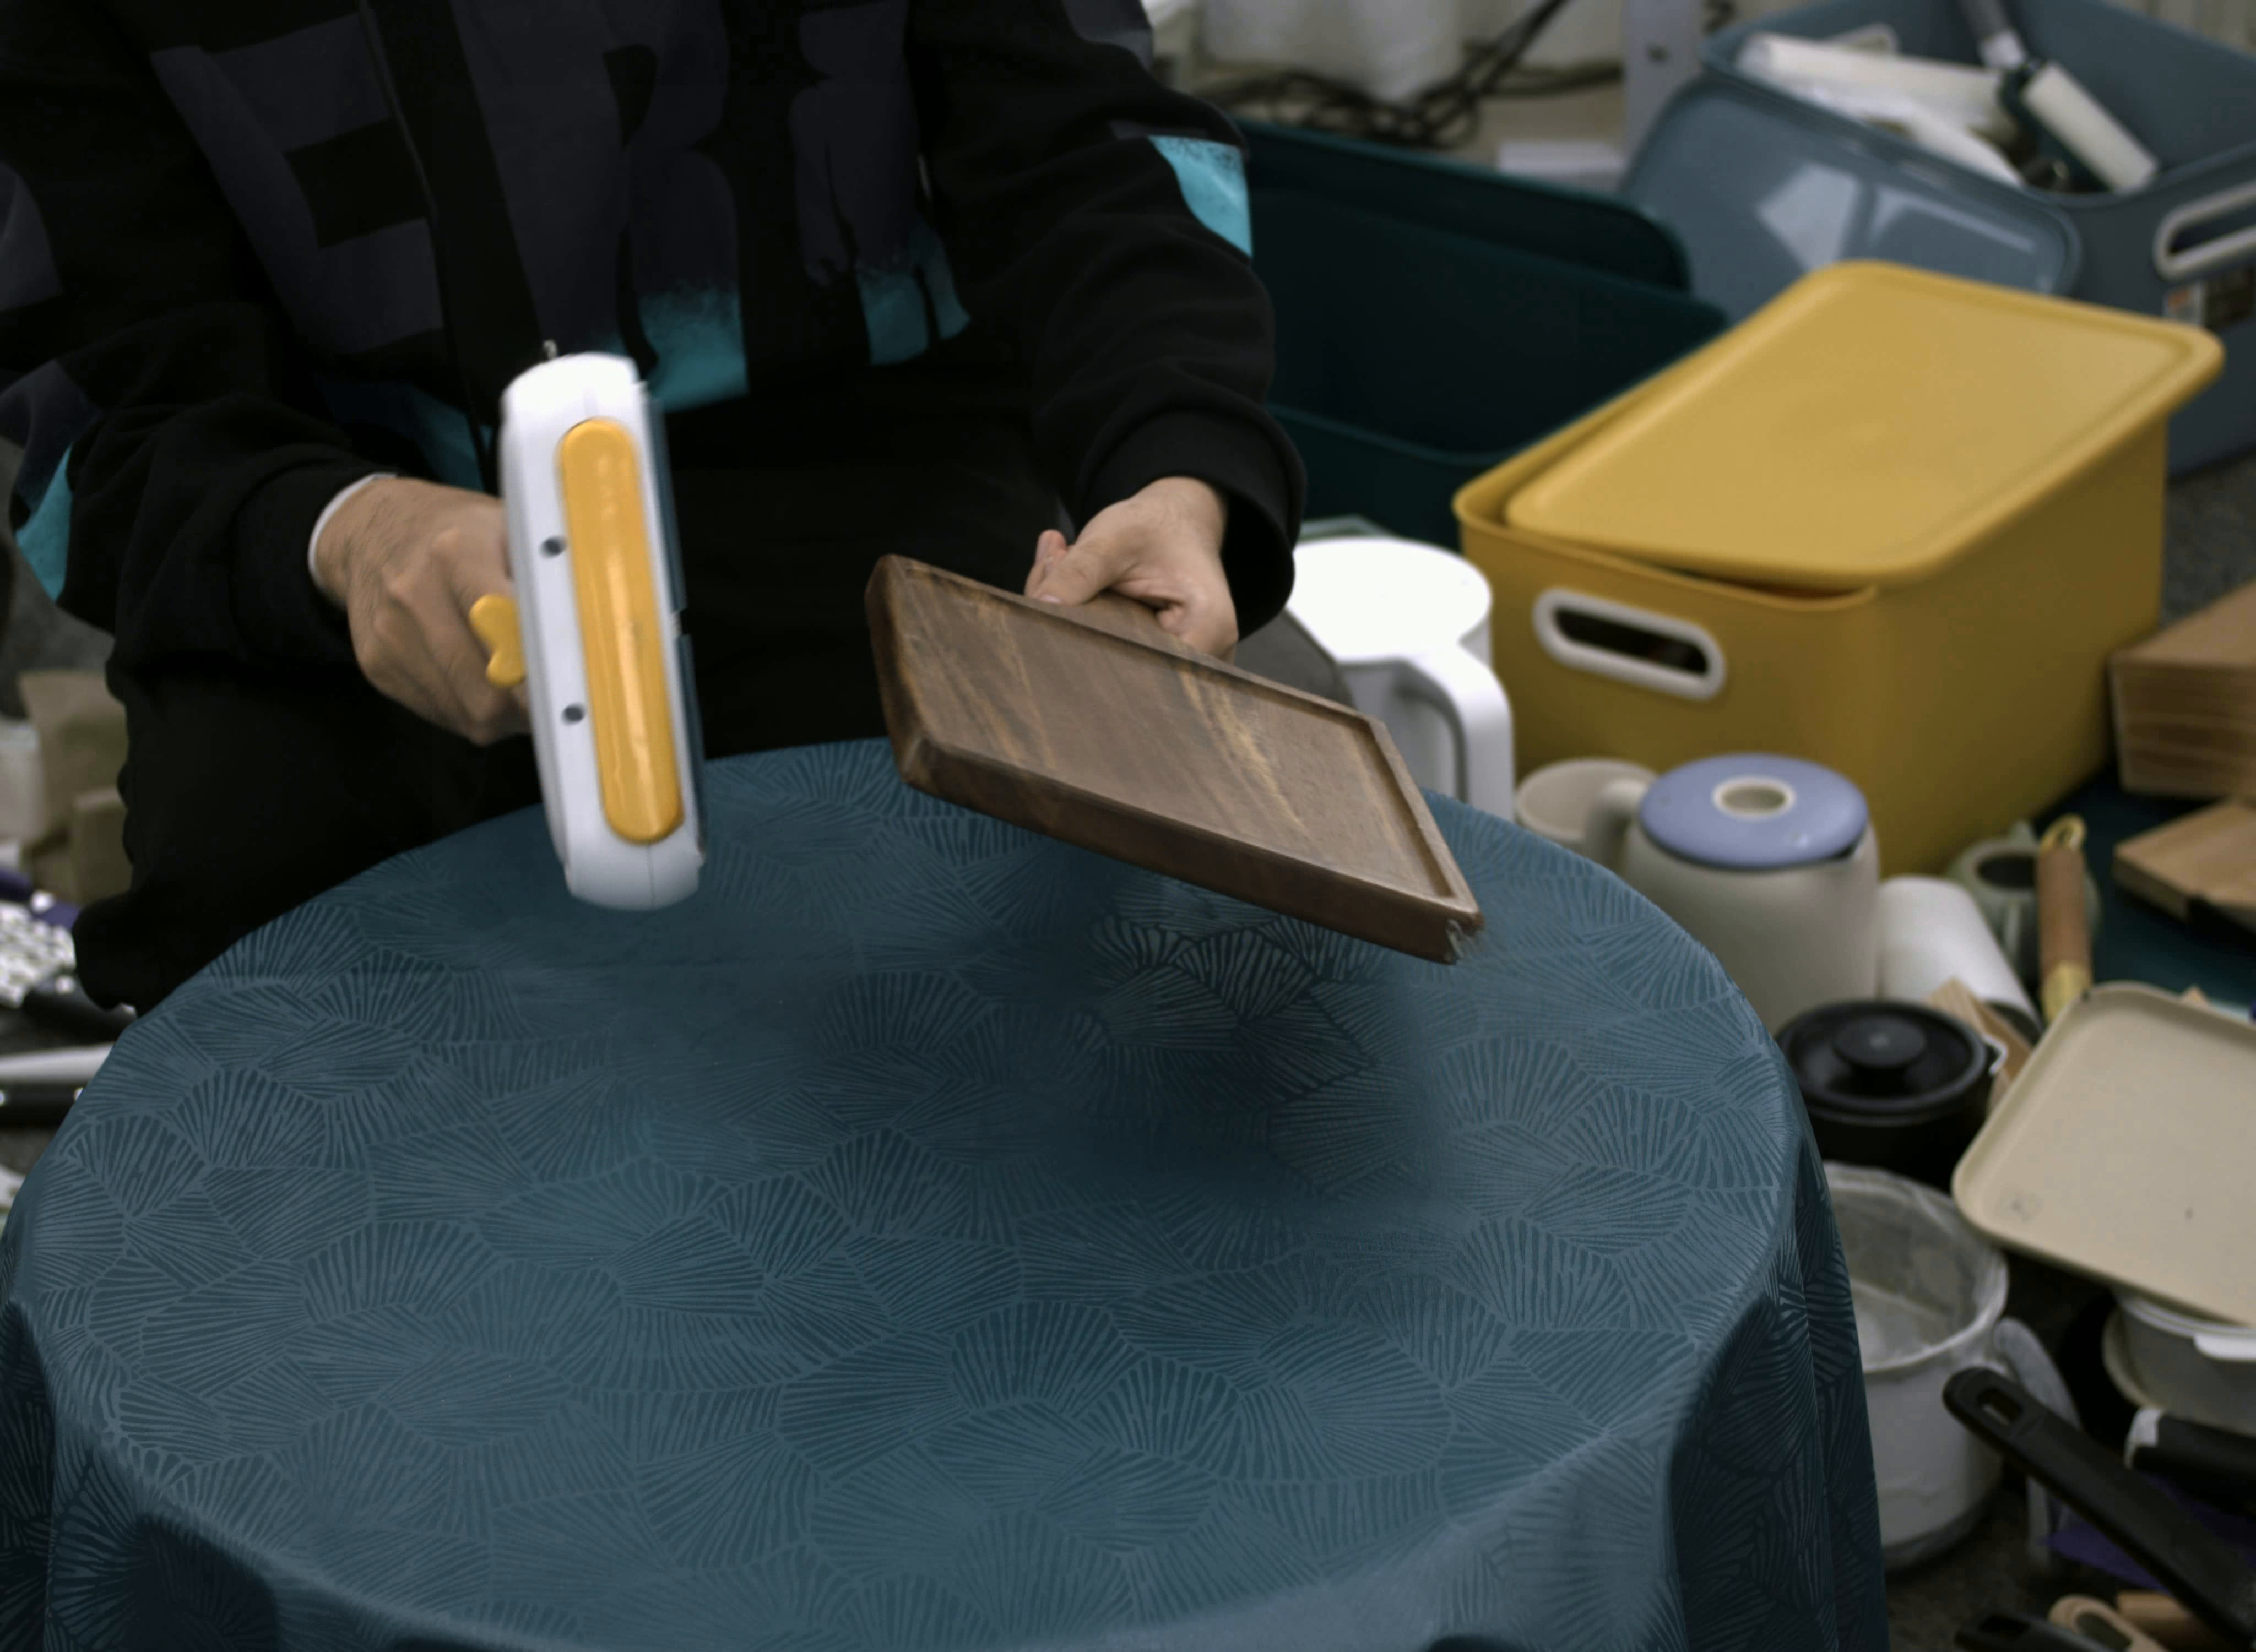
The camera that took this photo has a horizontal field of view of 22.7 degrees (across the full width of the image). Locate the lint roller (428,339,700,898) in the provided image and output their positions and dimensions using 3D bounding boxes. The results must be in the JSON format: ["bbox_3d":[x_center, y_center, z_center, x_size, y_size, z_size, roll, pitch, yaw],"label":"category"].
[{"bbox_3d":[-0.207,-0.065,1.989,0.074,0.194,0.191,-14,-1,-15],"label":"lint roller"}]

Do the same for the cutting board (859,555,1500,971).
[{"bbox_3d":[0.007,-0.038,1.944,0.200,0.023,0.355,19,13,-11],"label":"cutting board"}]
